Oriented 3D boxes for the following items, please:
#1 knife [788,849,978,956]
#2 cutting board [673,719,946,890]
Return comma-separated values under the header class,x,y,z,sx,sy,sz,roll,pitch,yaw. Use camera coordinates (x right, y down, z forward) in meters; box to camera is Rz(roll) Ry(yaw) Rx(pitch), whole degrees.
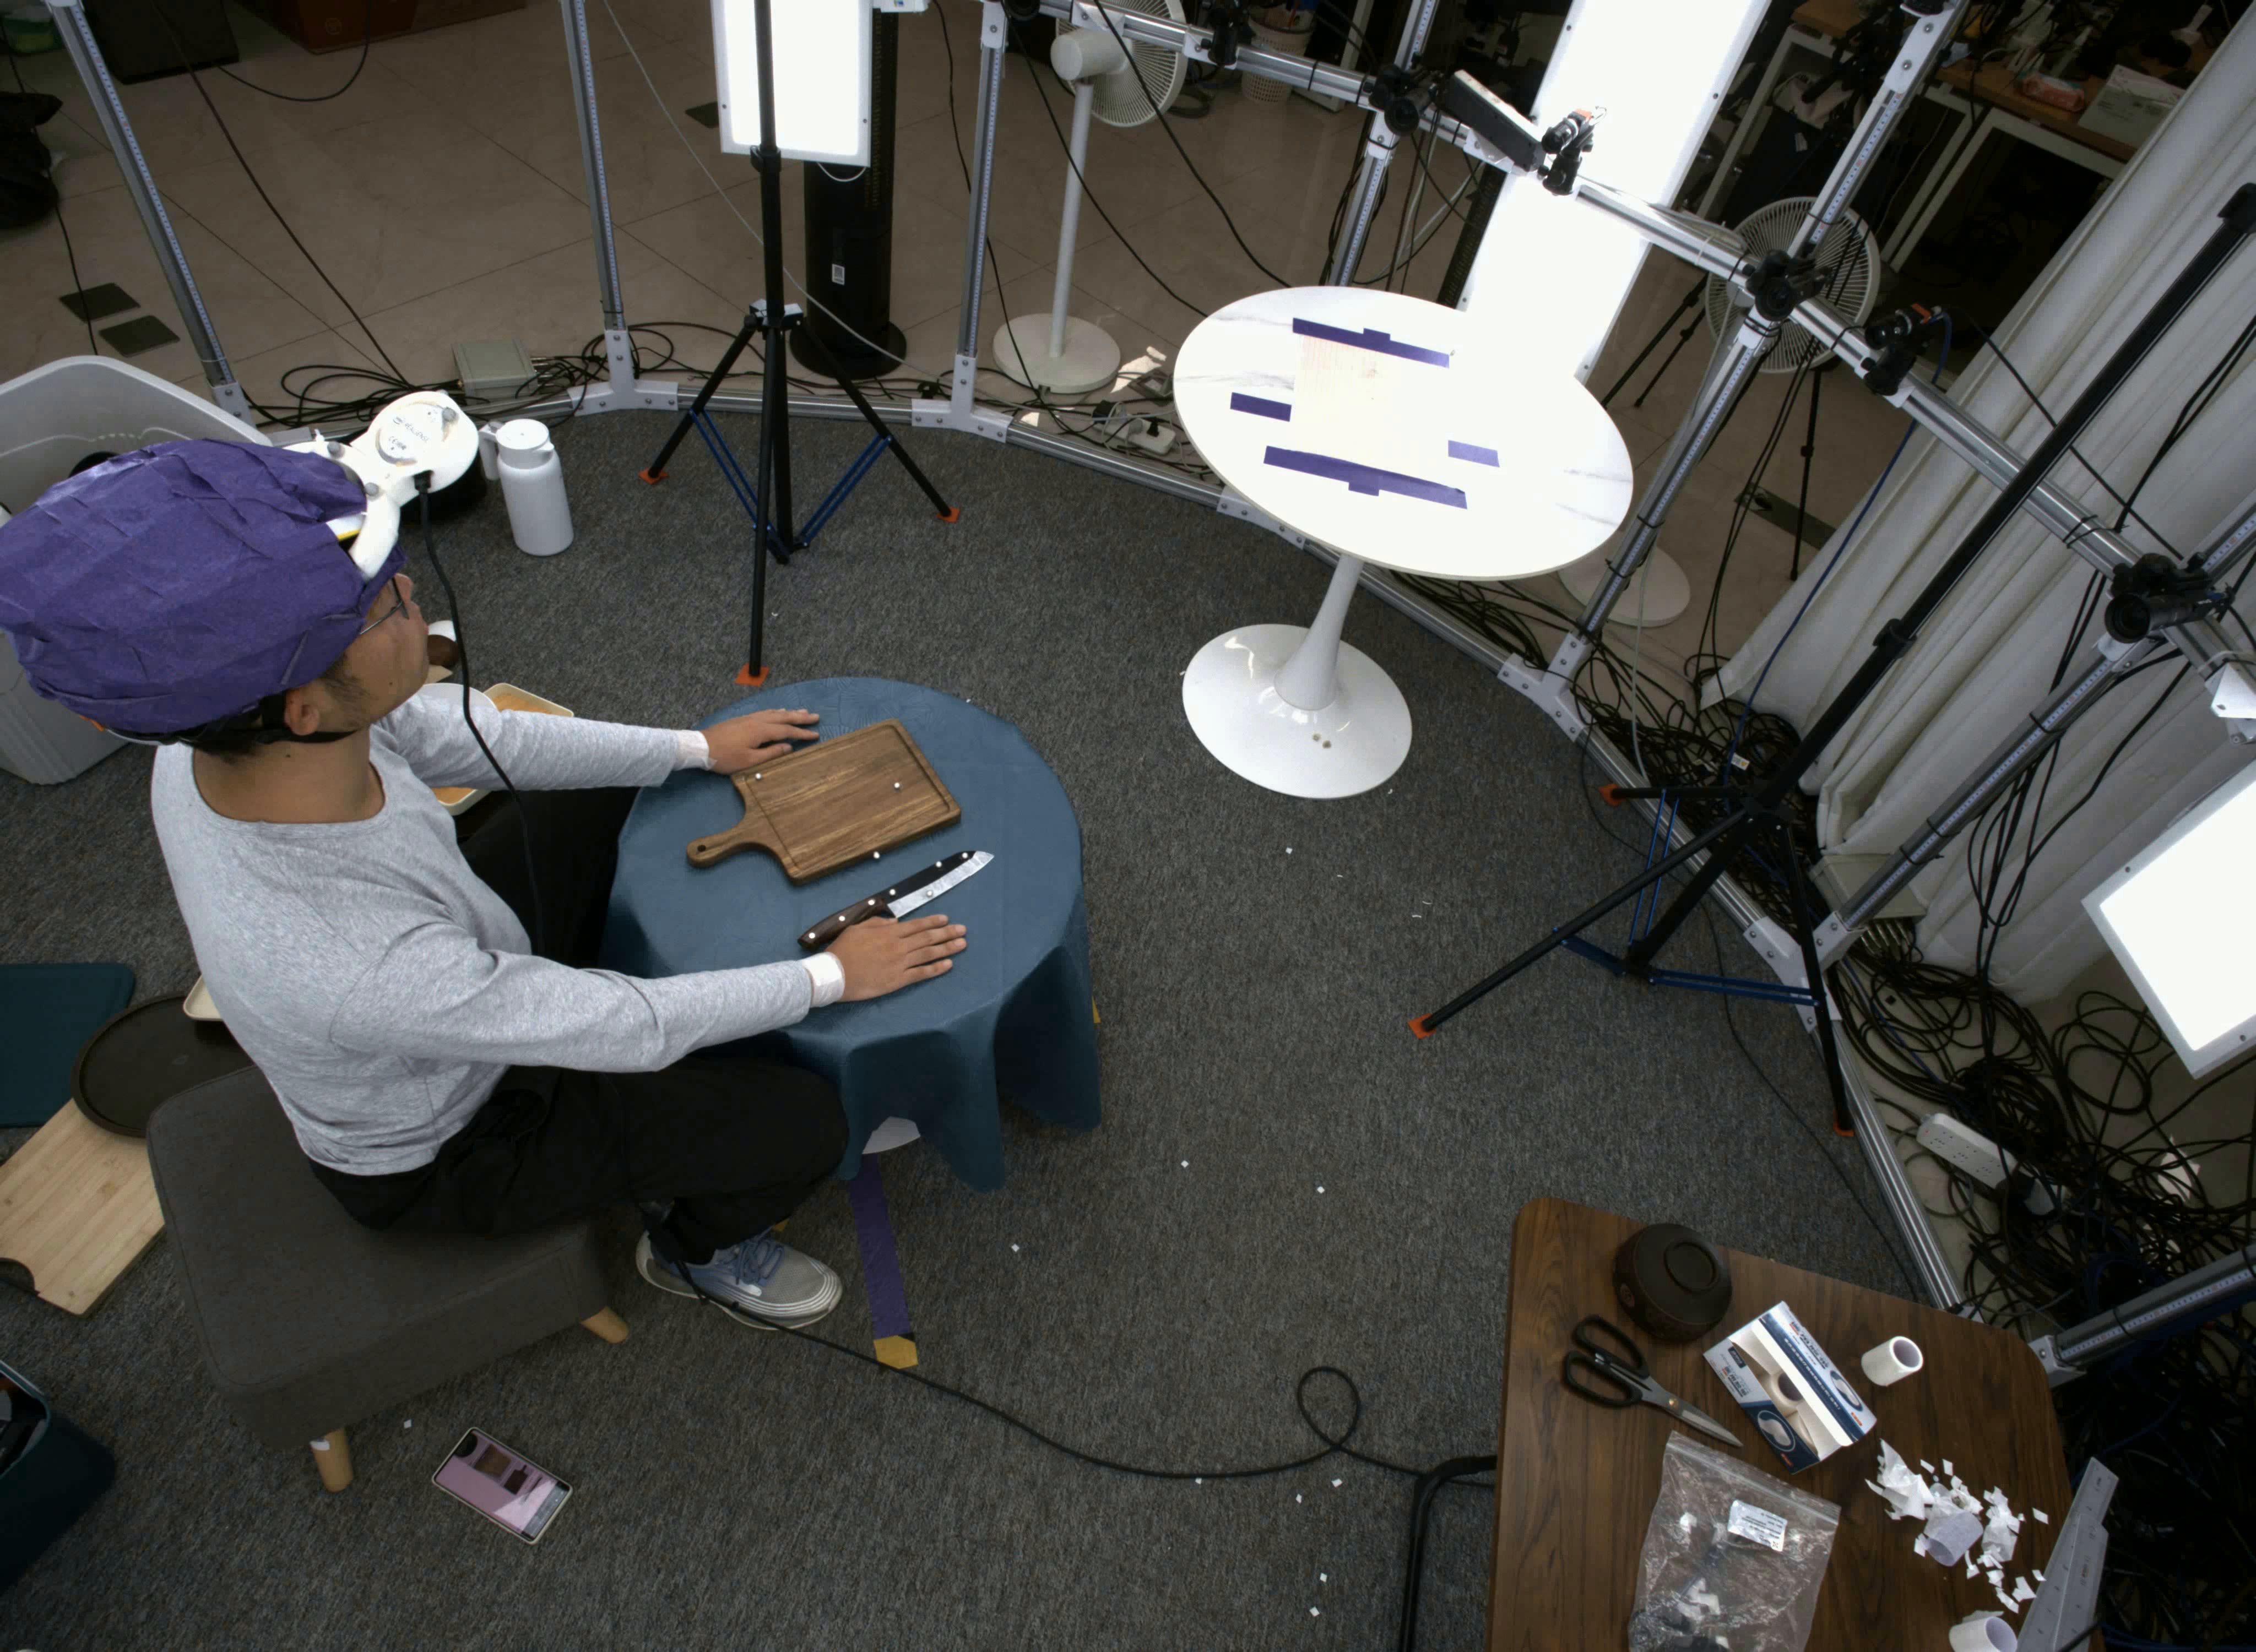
class,x,y,z,sx,sy,sz,roll,pitch,yaw
knife,-0.312,0.093,1.686,0.290,0.020,0.049,-28,70,-33
cutting board,-0.440,-0.018,1.732,0.354,0.023,0.196,-25,63,-29
